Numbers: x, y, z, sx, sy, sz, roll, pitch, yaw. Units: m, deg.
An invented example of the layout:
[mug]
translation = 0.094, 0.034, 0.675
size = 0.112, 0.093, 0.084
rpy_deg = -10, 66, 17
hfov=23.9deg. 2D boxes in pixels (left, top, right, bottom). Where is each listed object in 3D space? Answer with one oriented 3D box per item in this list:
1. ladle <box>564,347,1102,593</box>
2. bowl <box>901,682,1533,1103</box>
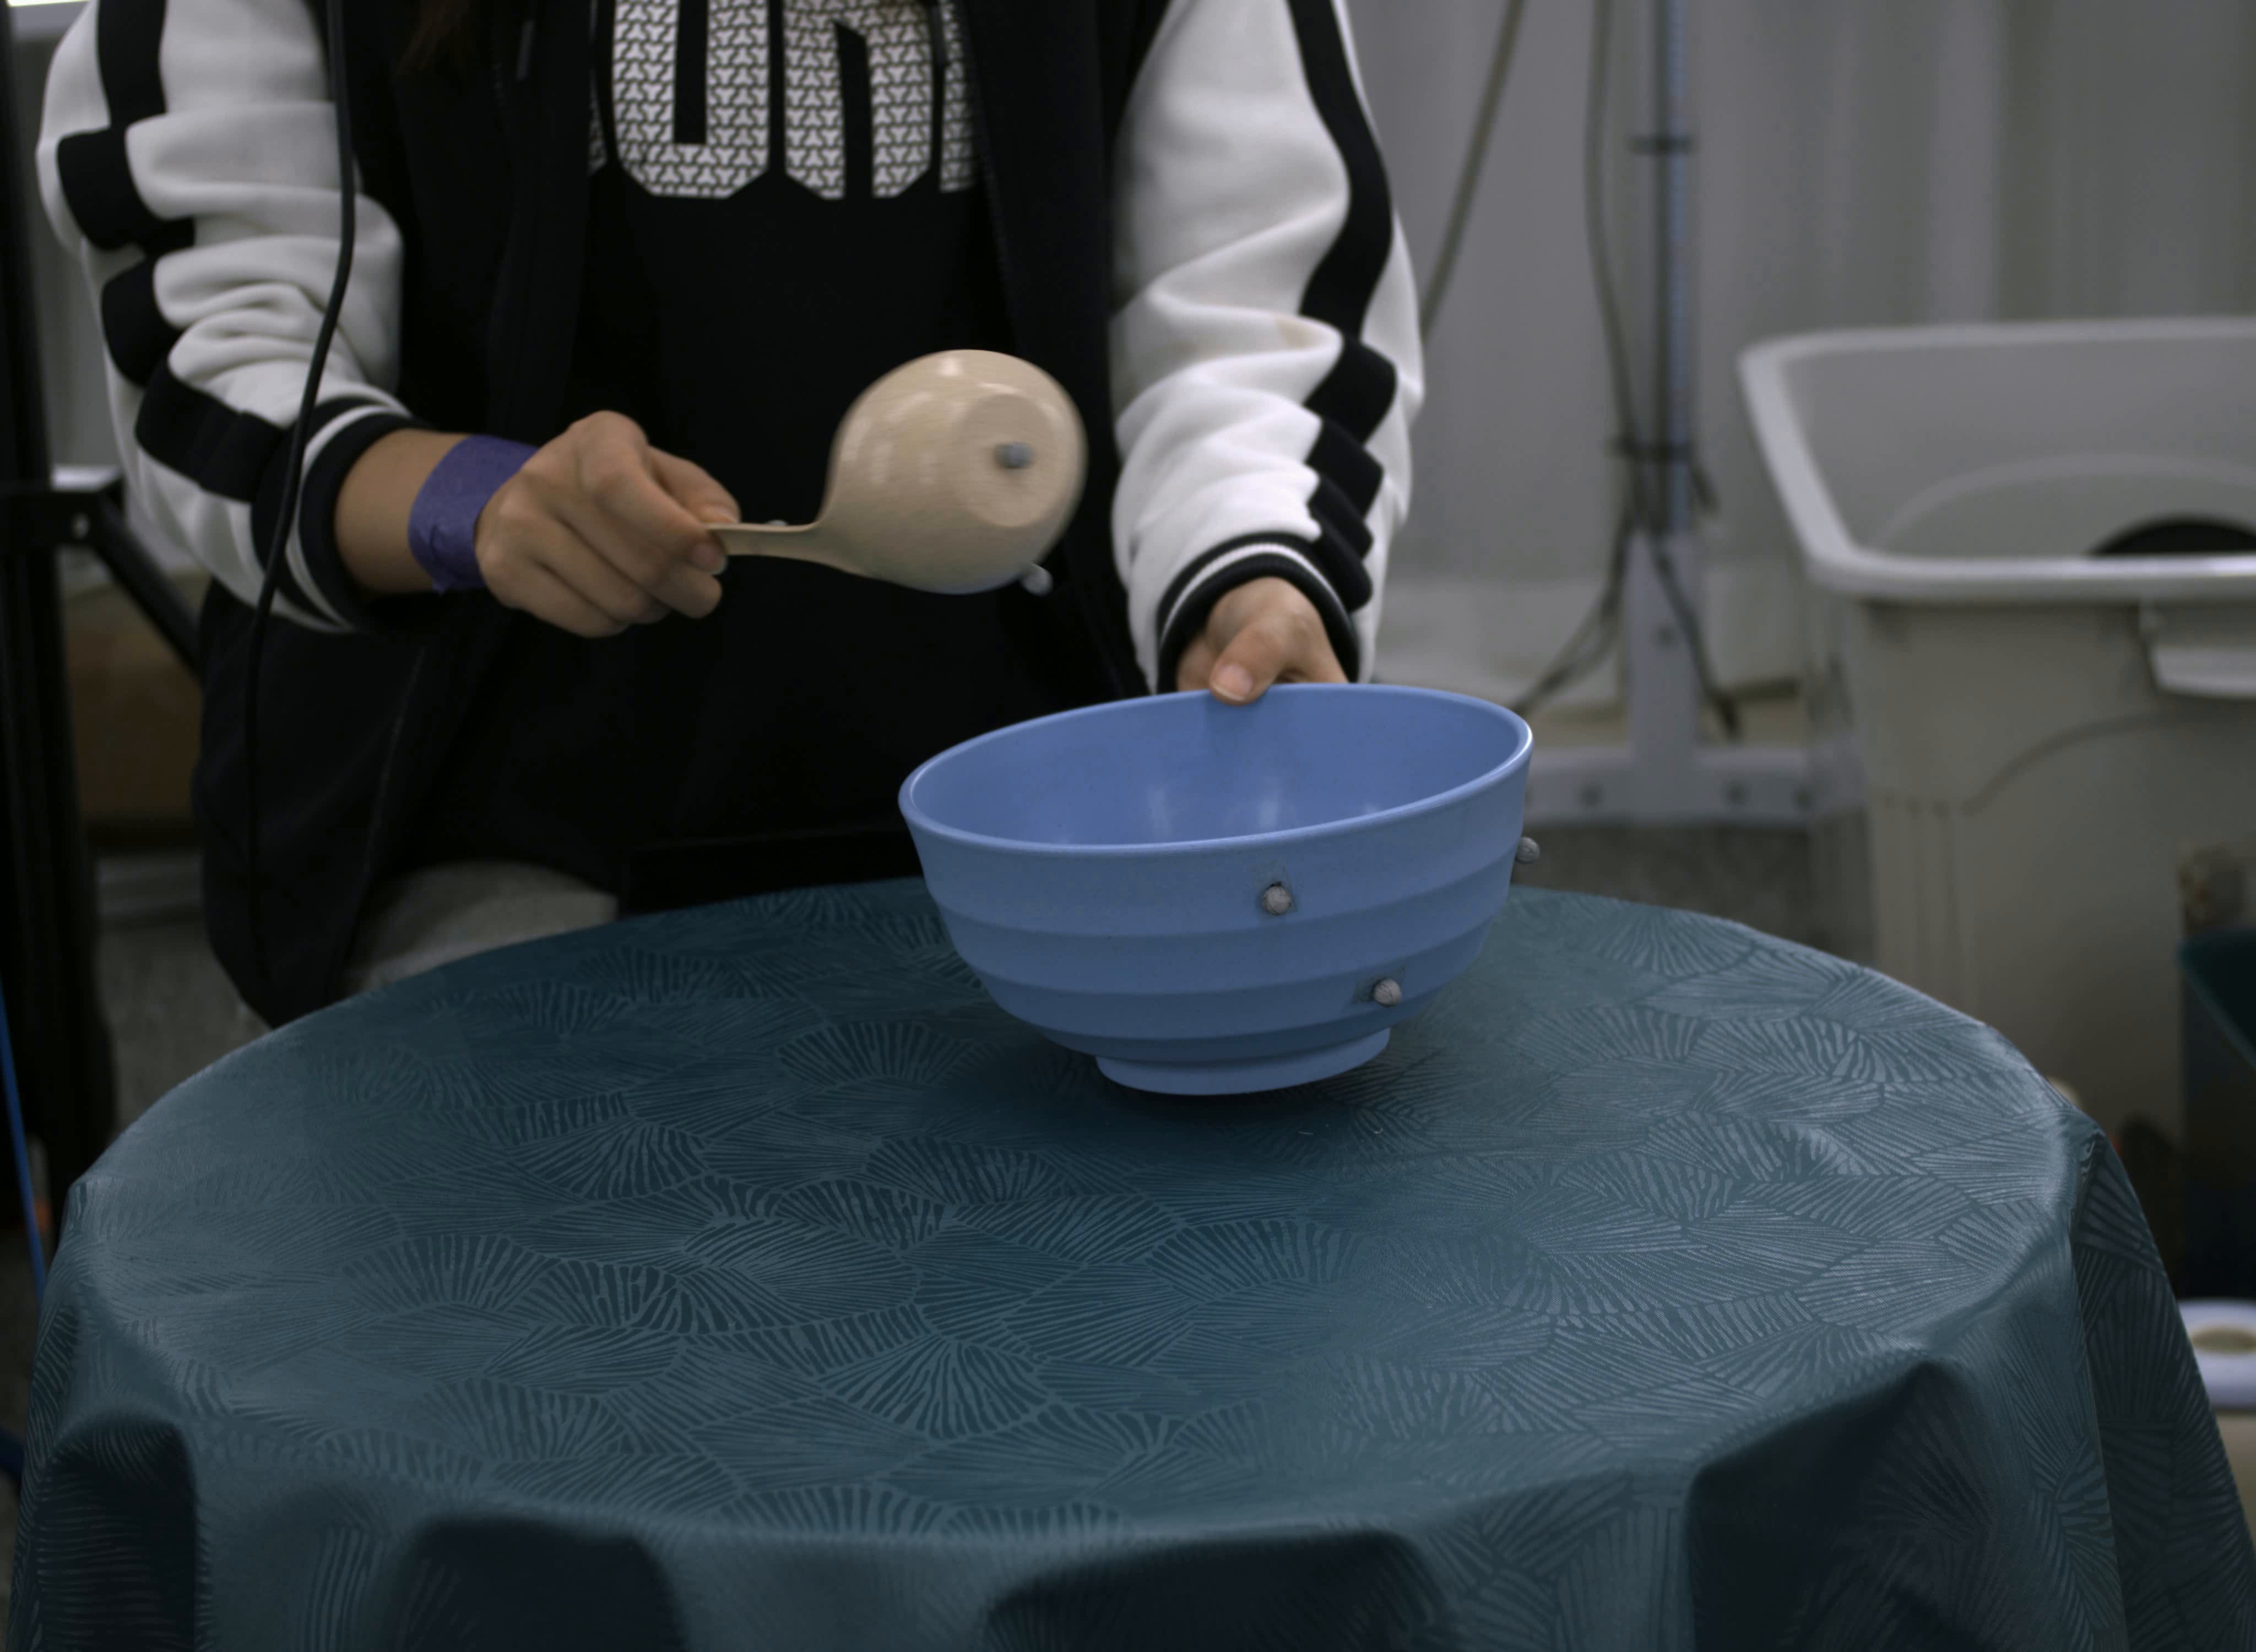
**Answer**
[ladle]
translation = -0.095, -0.109, 1.669
size = 0.072, 0.071, 0.259
rpy_deg = -43, 22, -22
[bowl]
translation = 0.032, 0.027, 1.645
size = 0.196, 0.095, 0.197
rpy_deg = -8, 15, 1
